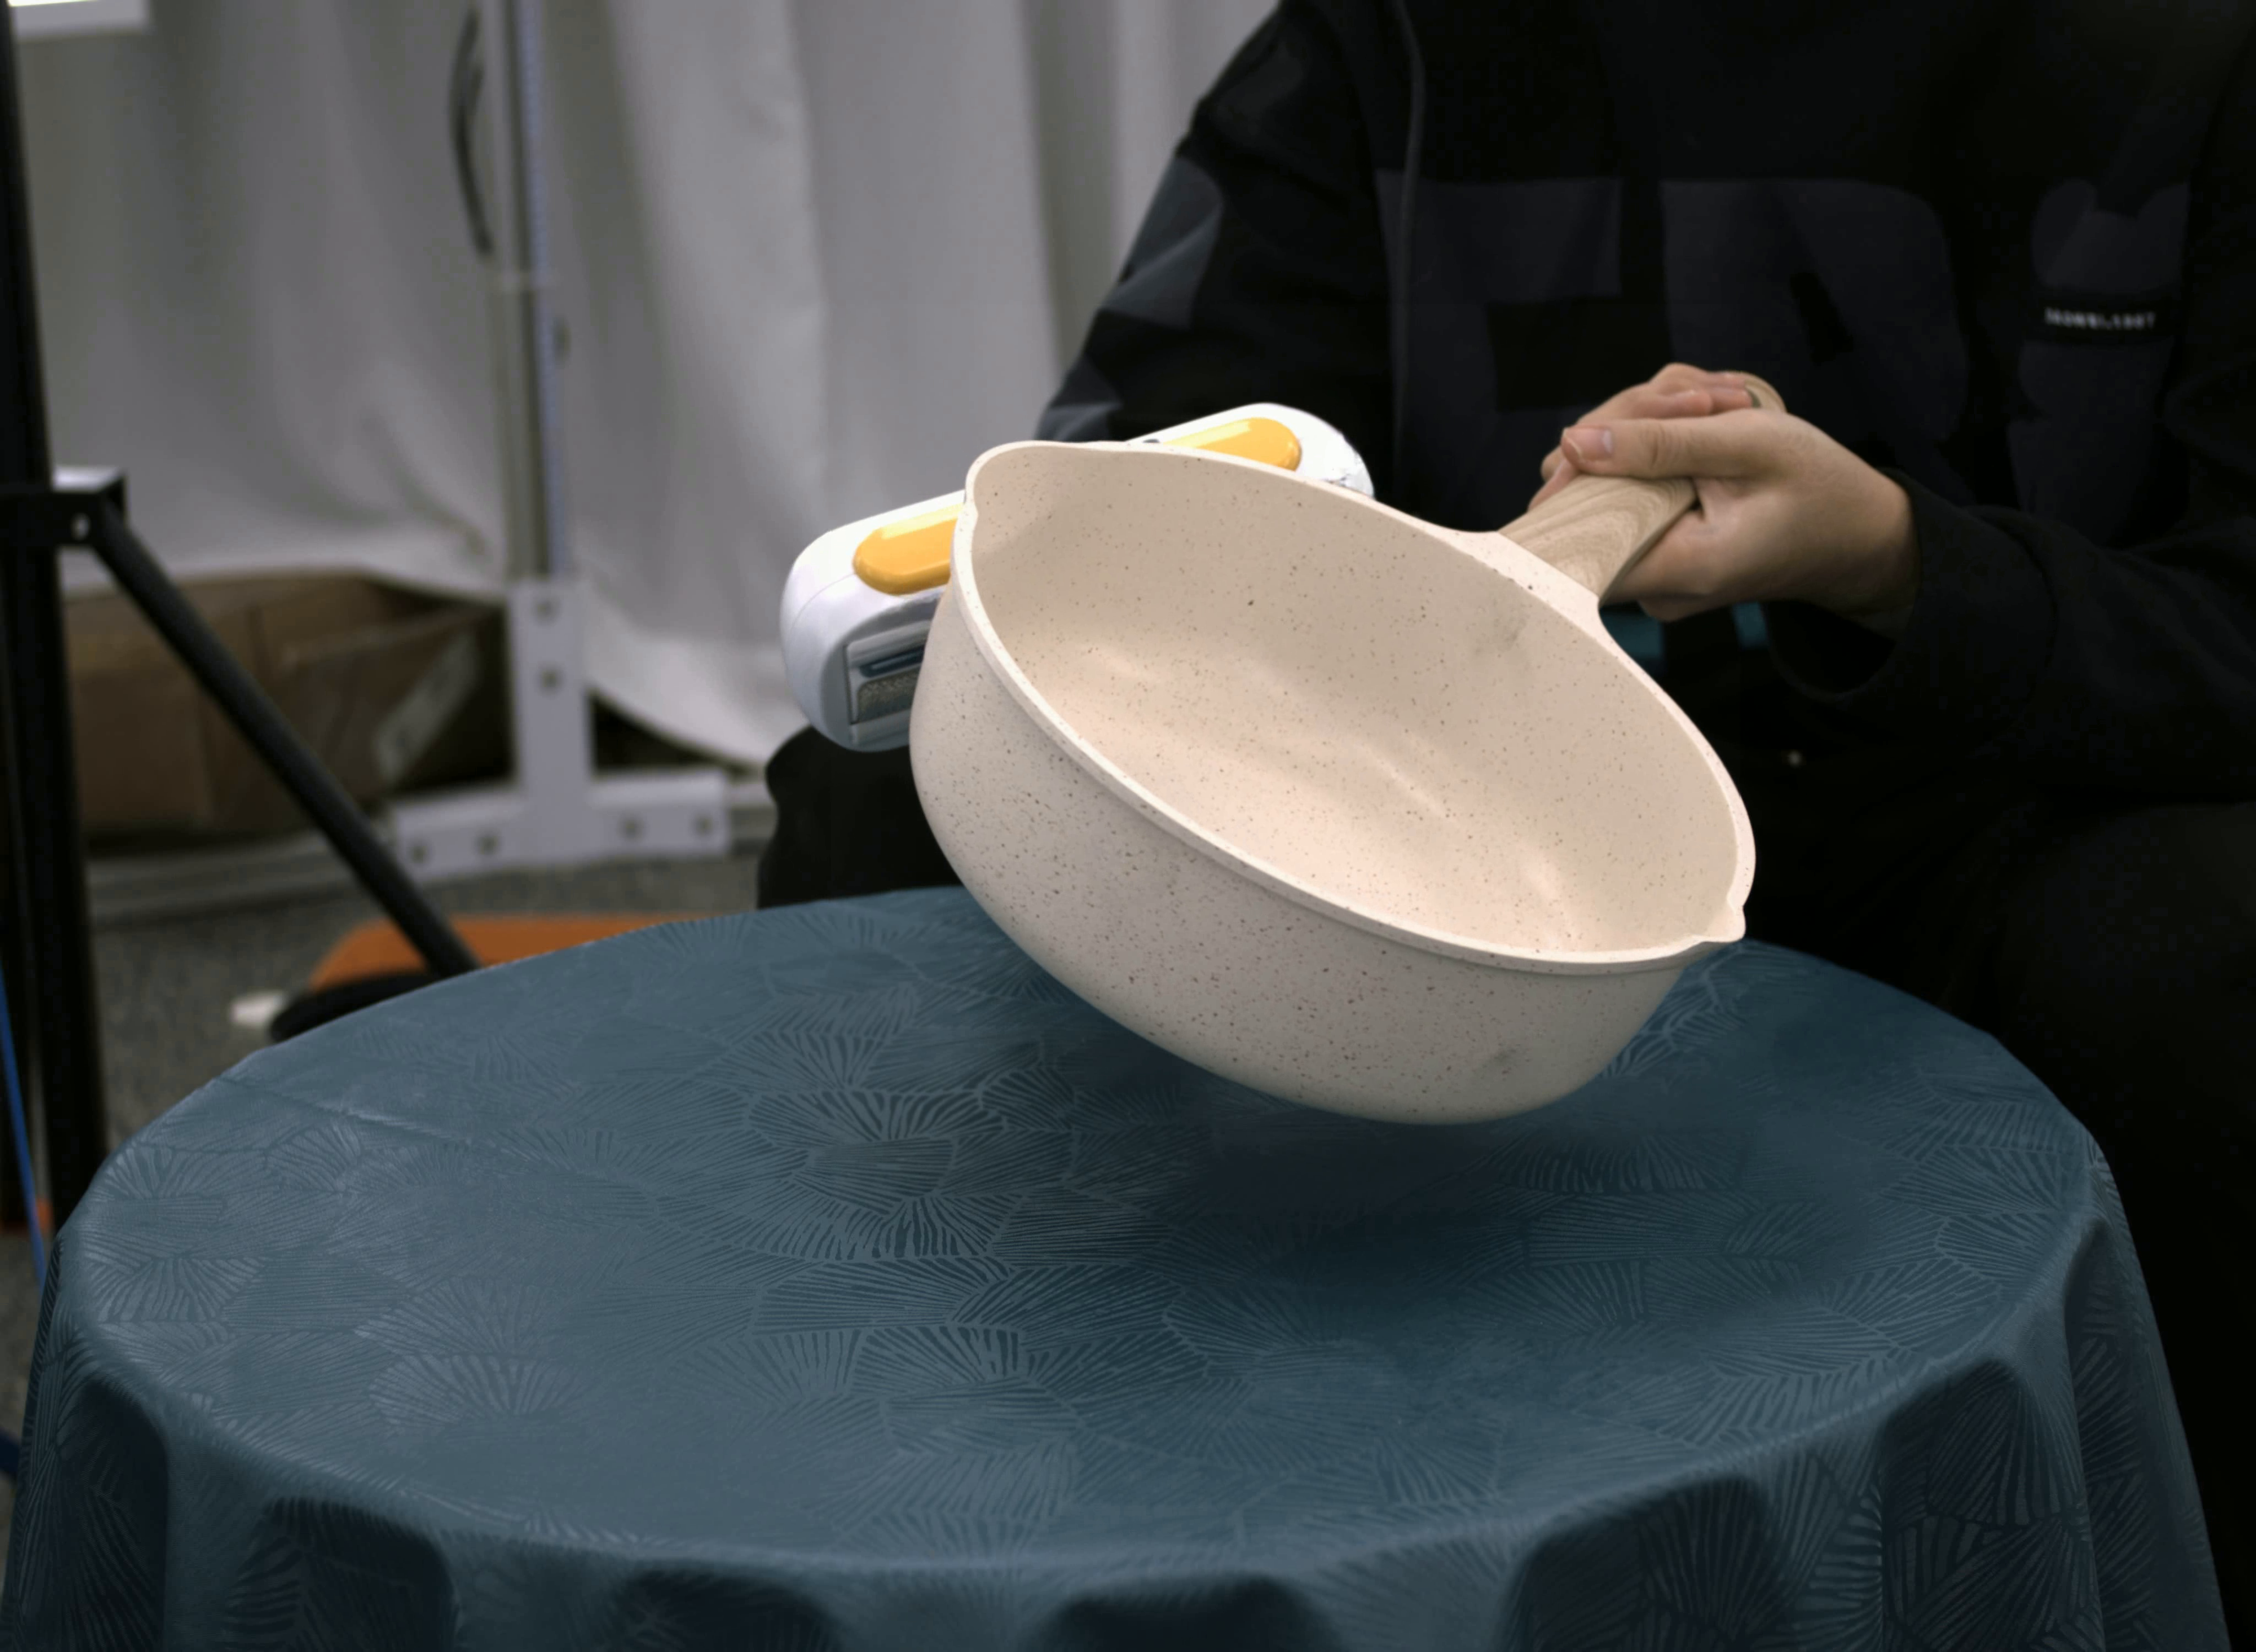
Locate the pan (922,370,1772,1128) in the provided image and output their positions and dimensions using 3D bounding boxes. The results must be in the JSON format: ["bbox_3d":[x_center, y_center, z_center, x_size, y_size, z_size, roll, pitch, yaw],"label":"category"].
[{"bbox_3d":[0.096,-0.040,1.609,0.266,0.102,0.428,30,29,15],"label":"pan"}]

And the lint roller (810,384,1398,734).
[{"bbox_3d":[-0.016,-0.051,1.702,0.190,0.192,0.075,-20,57,-19],"label":"lint roller"}]
